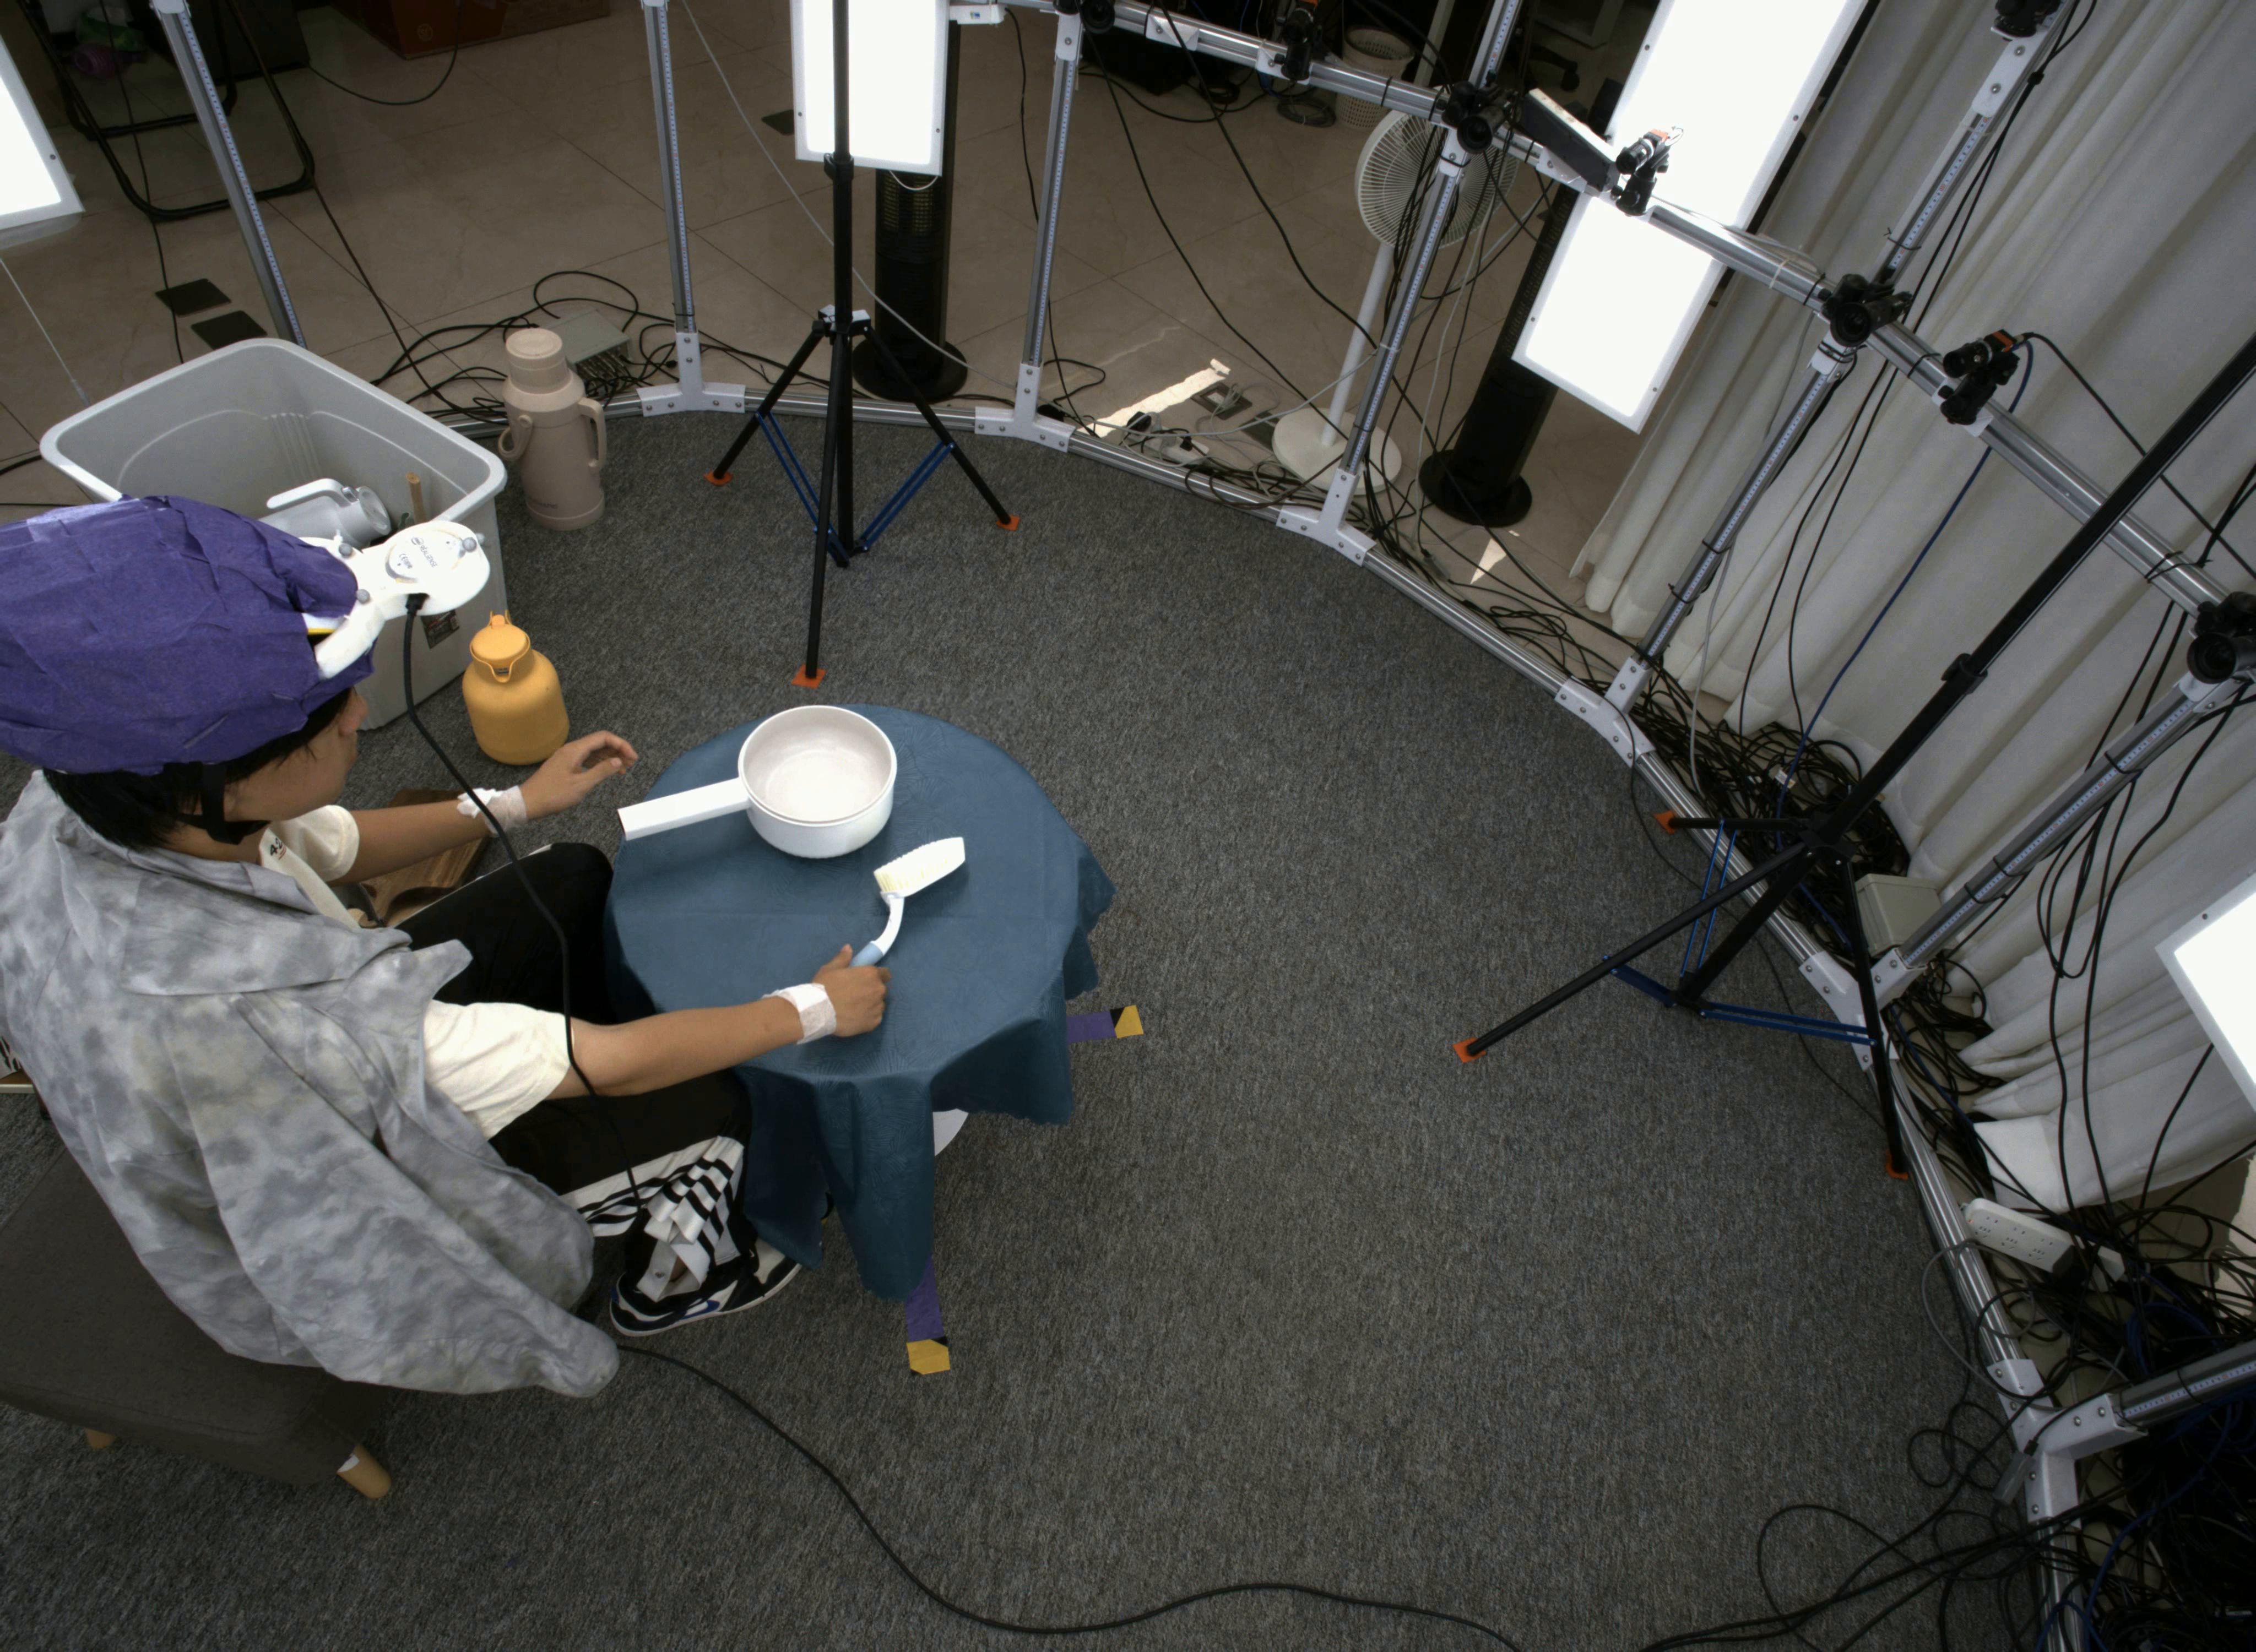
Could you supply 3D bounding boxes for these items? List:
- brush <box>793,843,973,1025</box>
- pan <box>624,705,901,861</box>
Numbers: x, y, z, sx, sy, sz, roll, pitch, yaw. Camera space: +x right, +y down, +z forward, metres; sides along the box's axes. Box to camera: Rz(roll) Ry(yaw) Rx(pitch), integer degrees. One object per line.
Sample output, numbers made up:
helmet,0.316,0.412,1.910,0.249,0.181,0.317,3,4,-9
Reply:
brush,-0.313,0.112,1.618,0.083,0.084,0.325,37,53,11
pan,-0.467,-0.031,1.675,0.356,0.104,0.196,-18,60,-24
